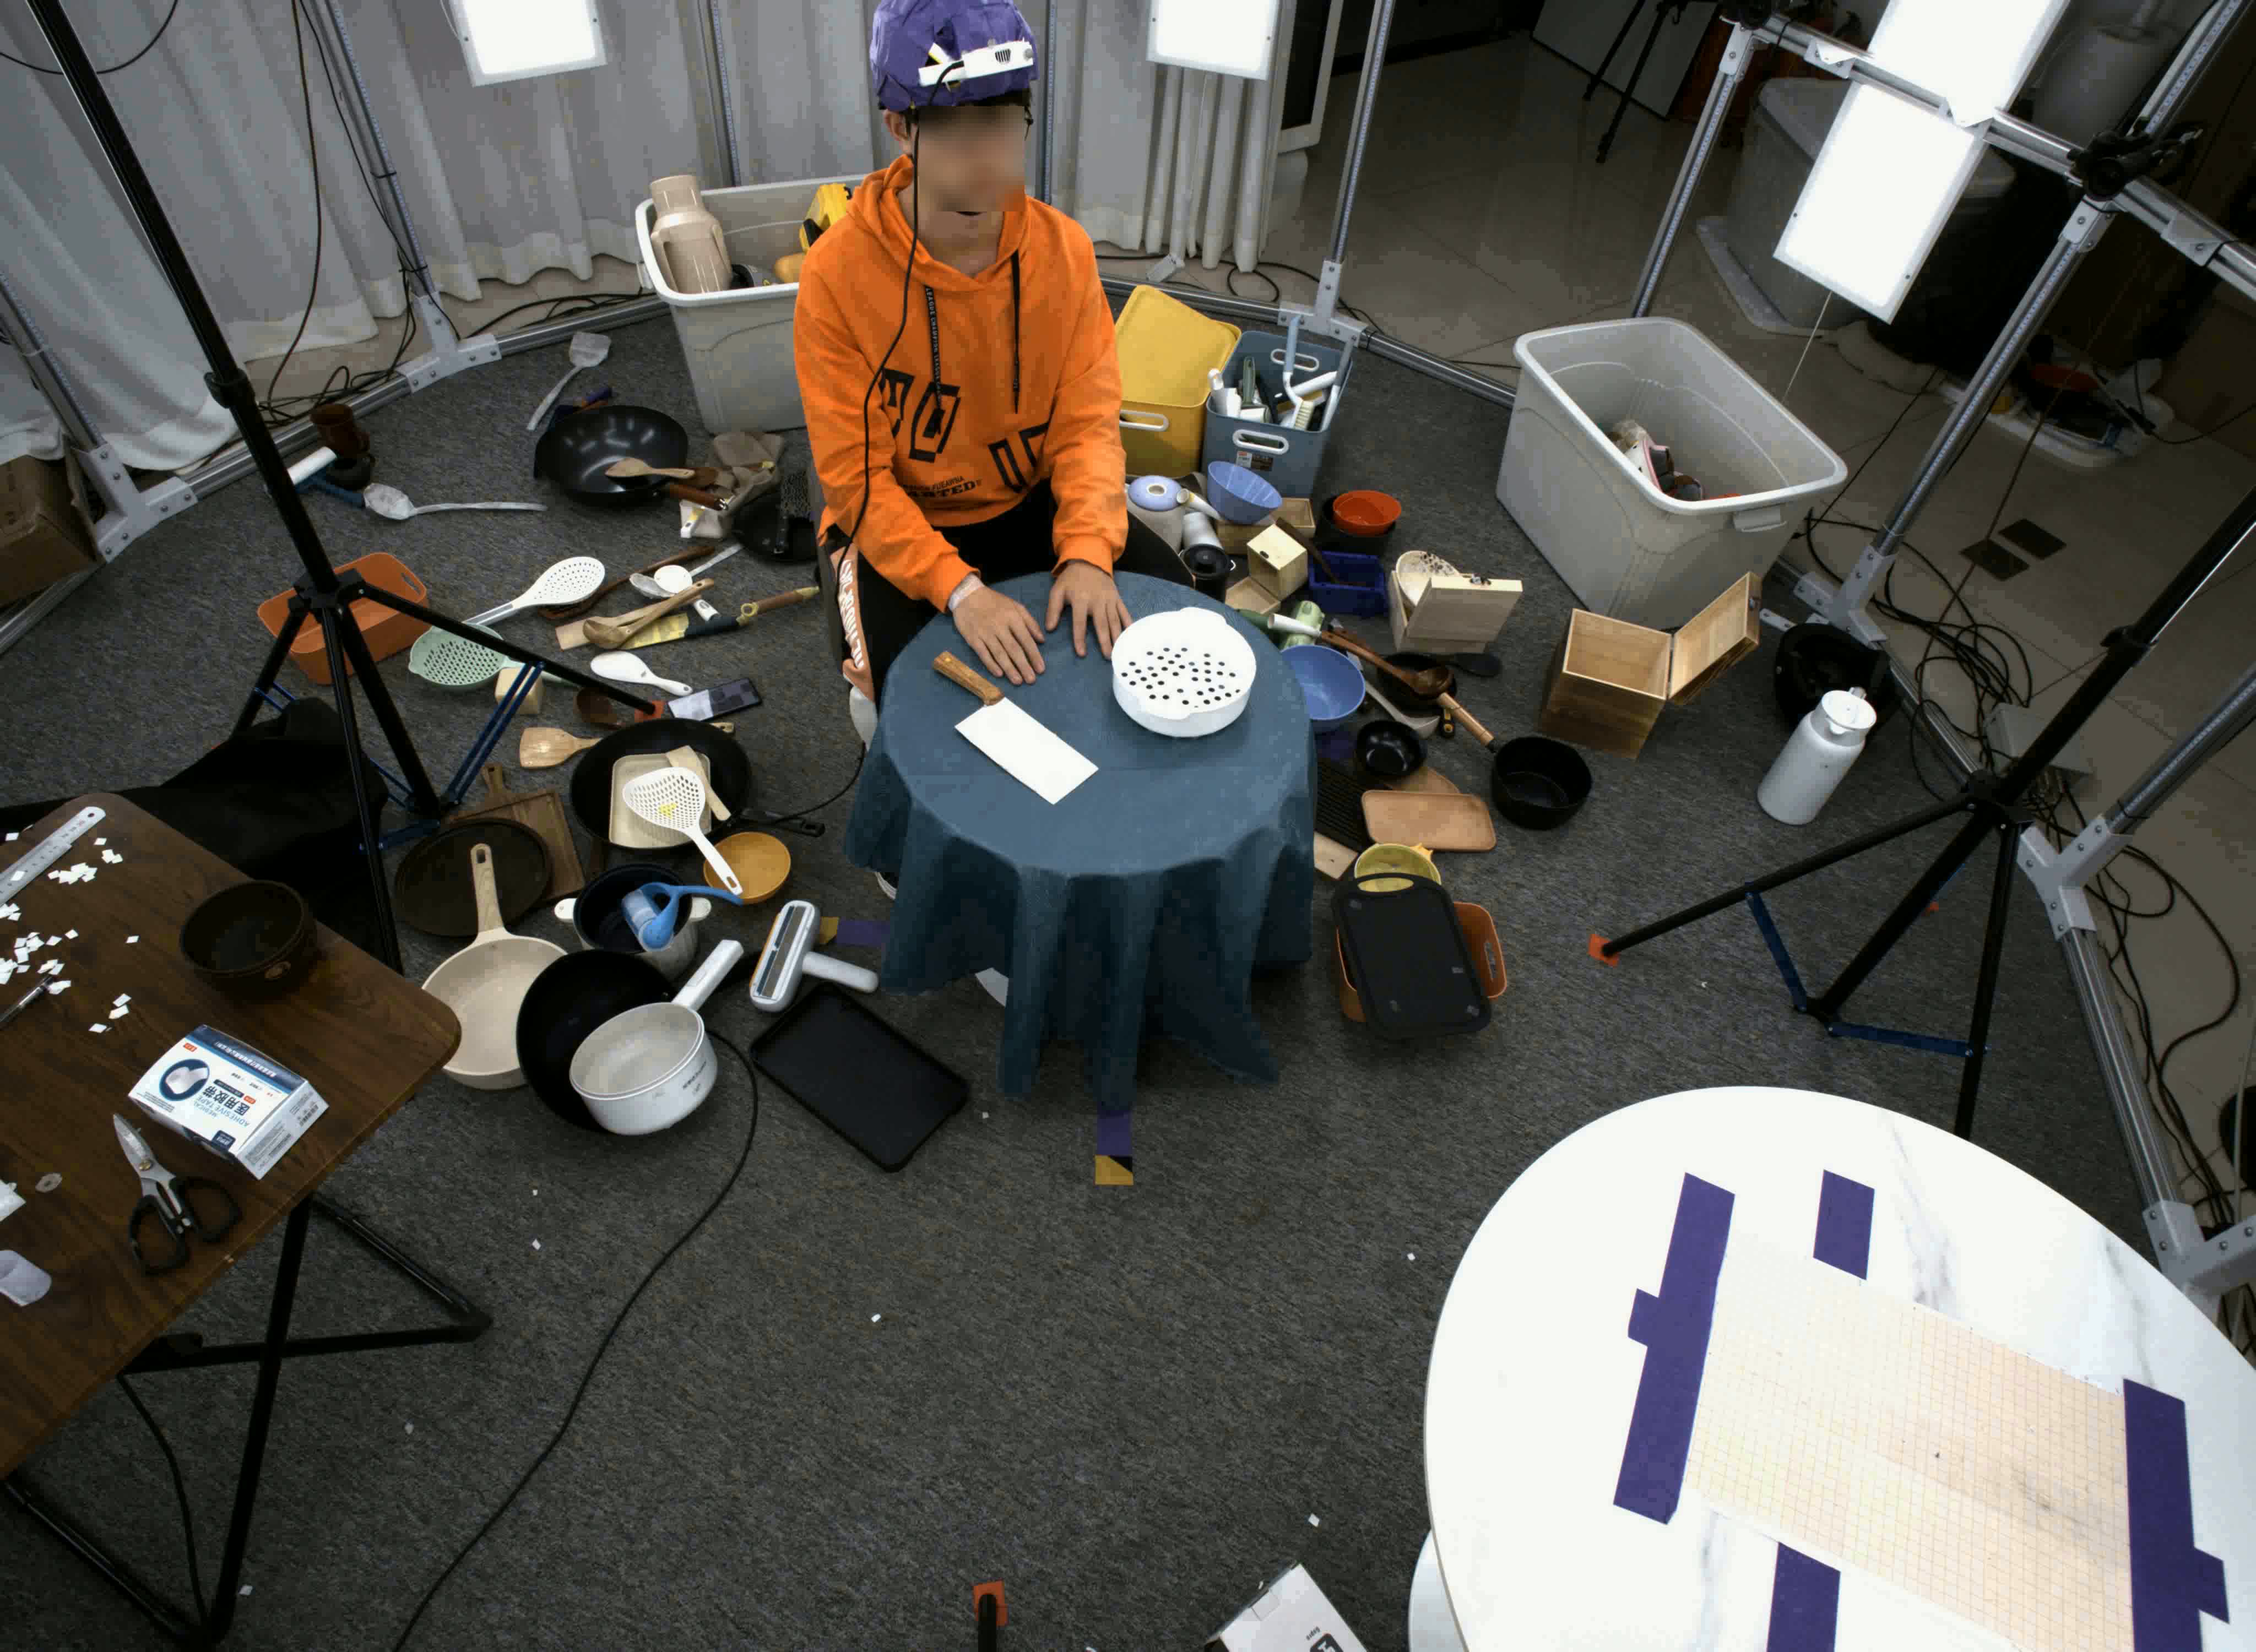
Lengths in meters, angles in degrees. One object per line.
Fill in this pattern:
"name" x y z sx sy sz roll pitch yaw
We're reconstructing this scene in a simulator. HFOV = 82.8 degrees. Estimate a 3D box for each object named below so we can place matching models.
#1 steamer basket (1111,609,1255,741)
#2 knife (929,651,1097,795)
"steamer basket" 0.076 -0.209 1.811 0.202 0.067 0.235 15 52 10
"knife" -0.179 -0.141 1.769 0.310 0.020 0.094 38 58 23
